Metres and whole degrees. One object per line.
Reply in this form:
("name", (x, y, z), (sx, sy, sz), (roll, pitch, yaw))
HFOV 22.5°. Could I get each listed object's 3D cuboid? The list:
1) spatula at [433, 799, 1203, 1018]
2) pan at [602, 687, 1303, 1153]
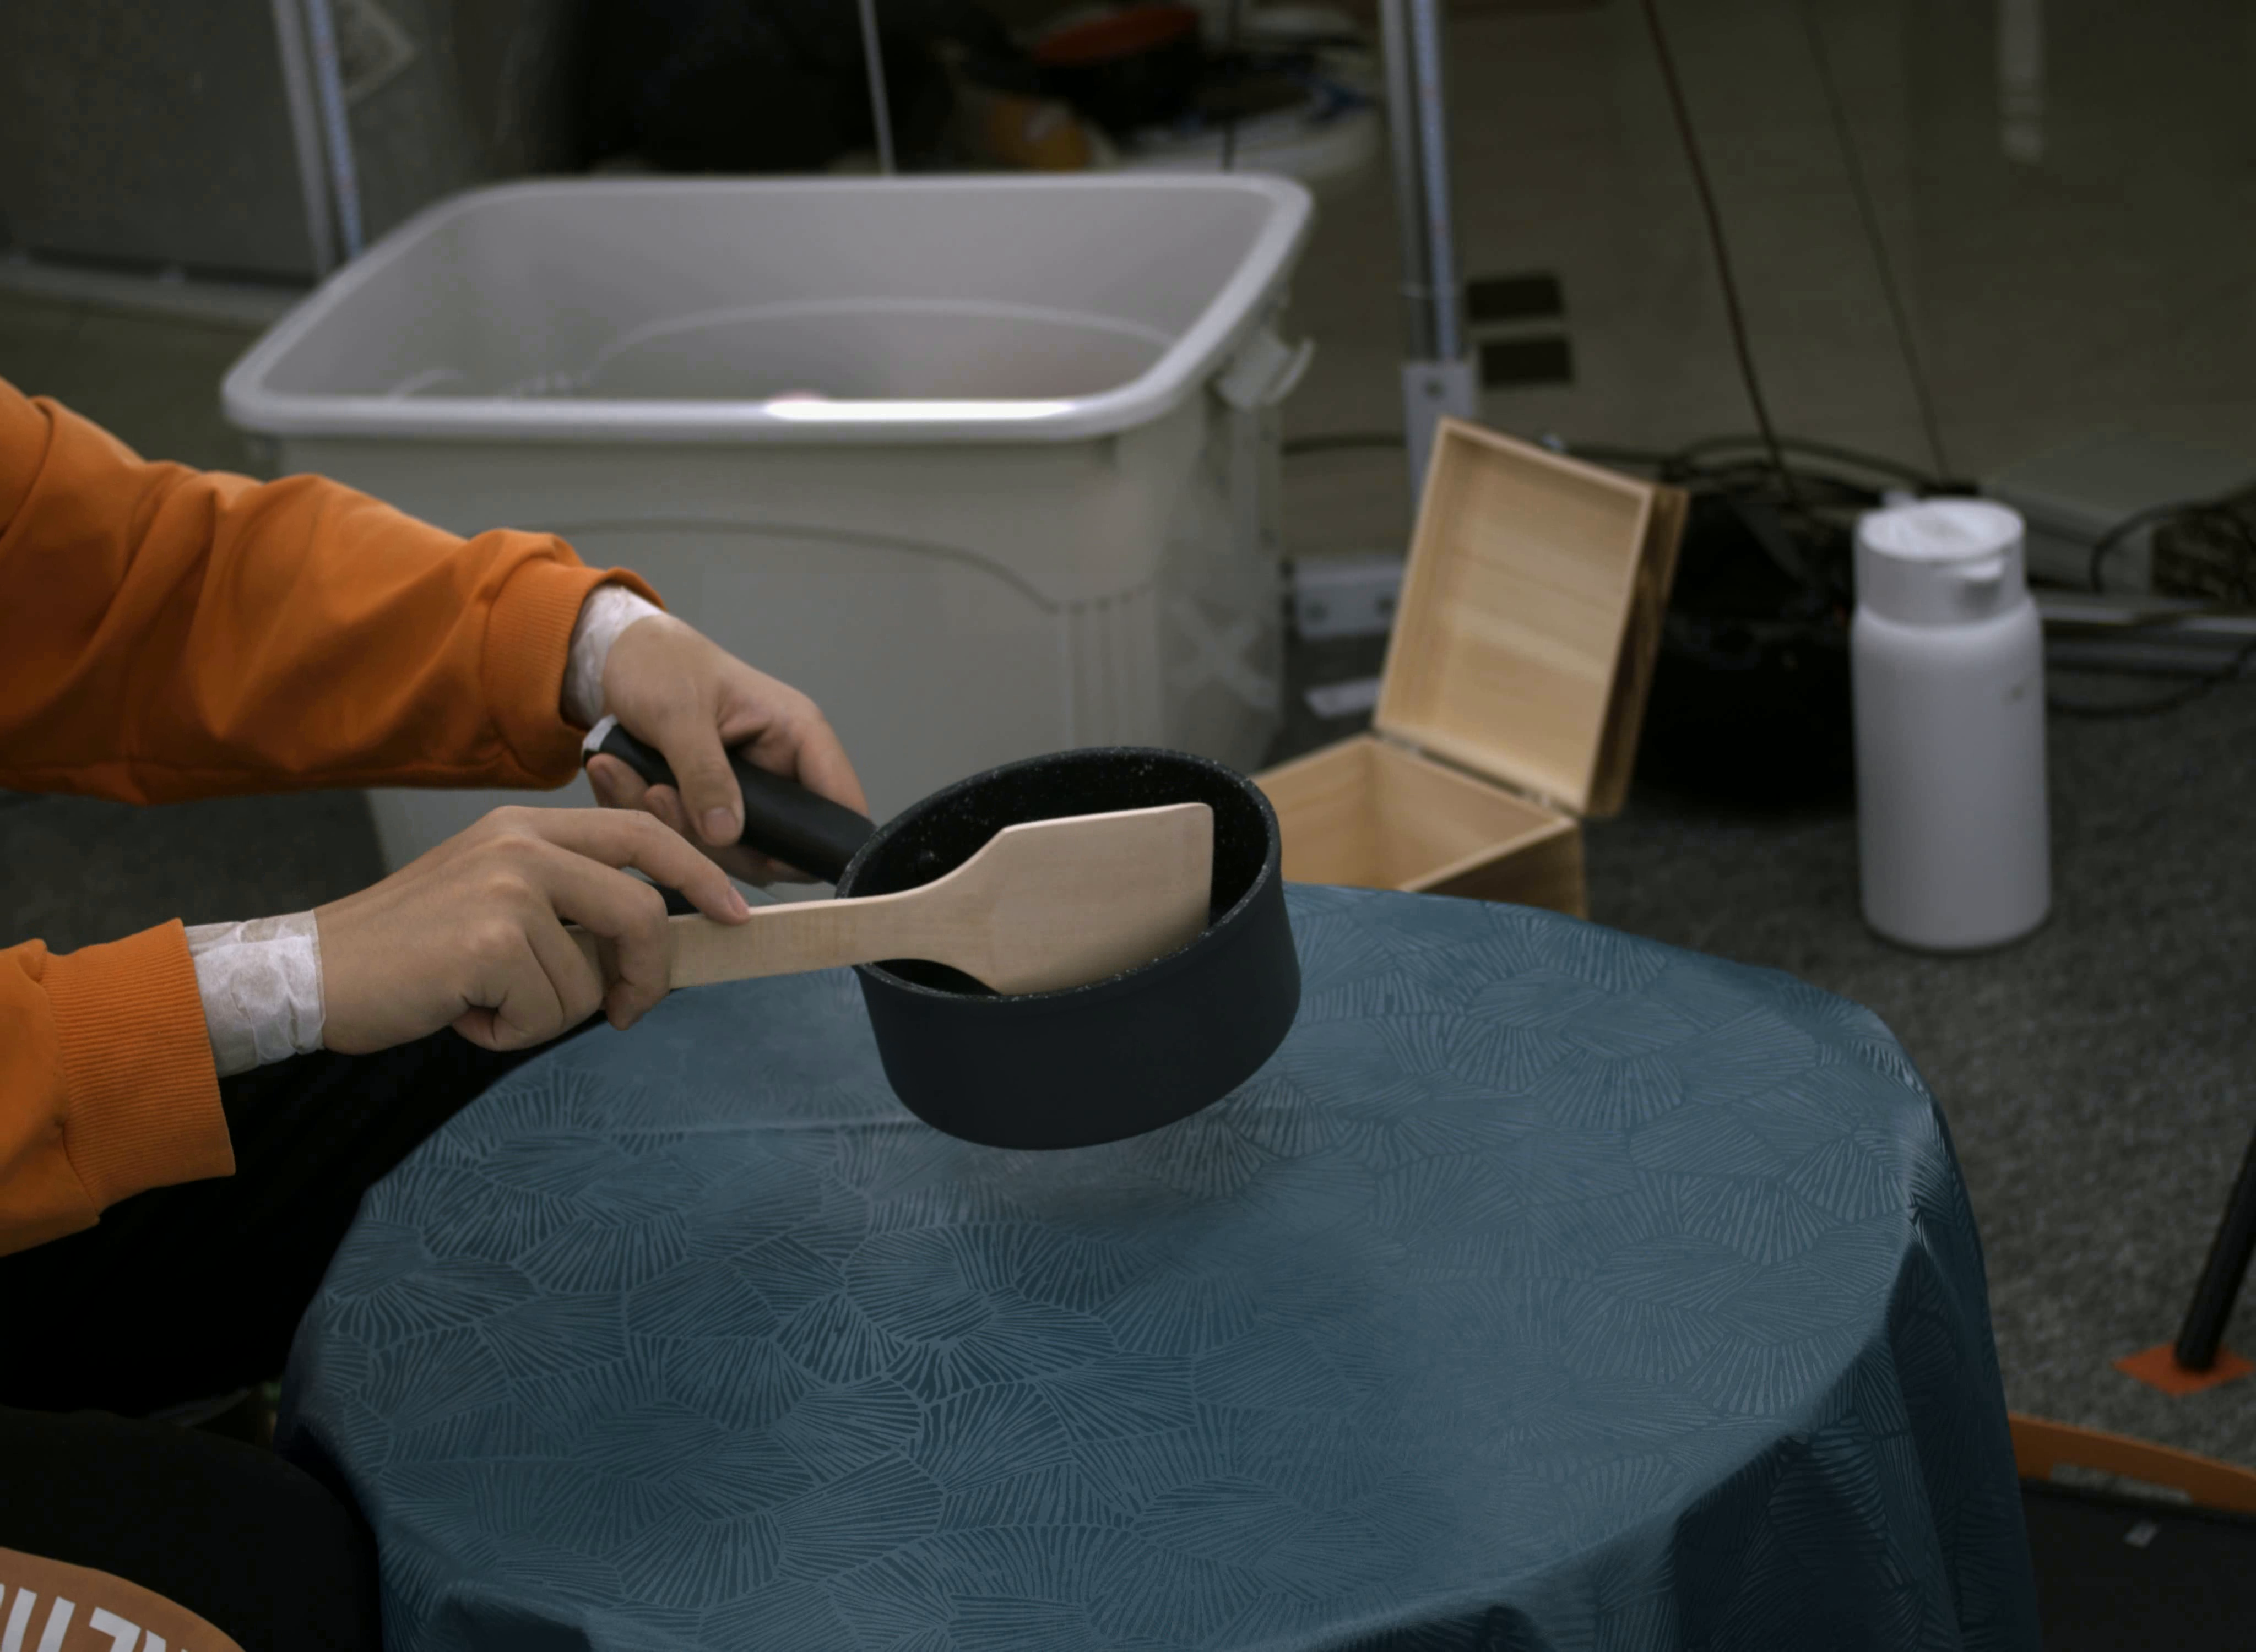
("spatula", (-0.108, 0.037, 2.038), (0.292, 0.073, 0.010), (-7, 28, -20))
("pan", (-0.079, 0.026, 2.187), (0.326, 0.088, 0.170), (19, 44, 39))
